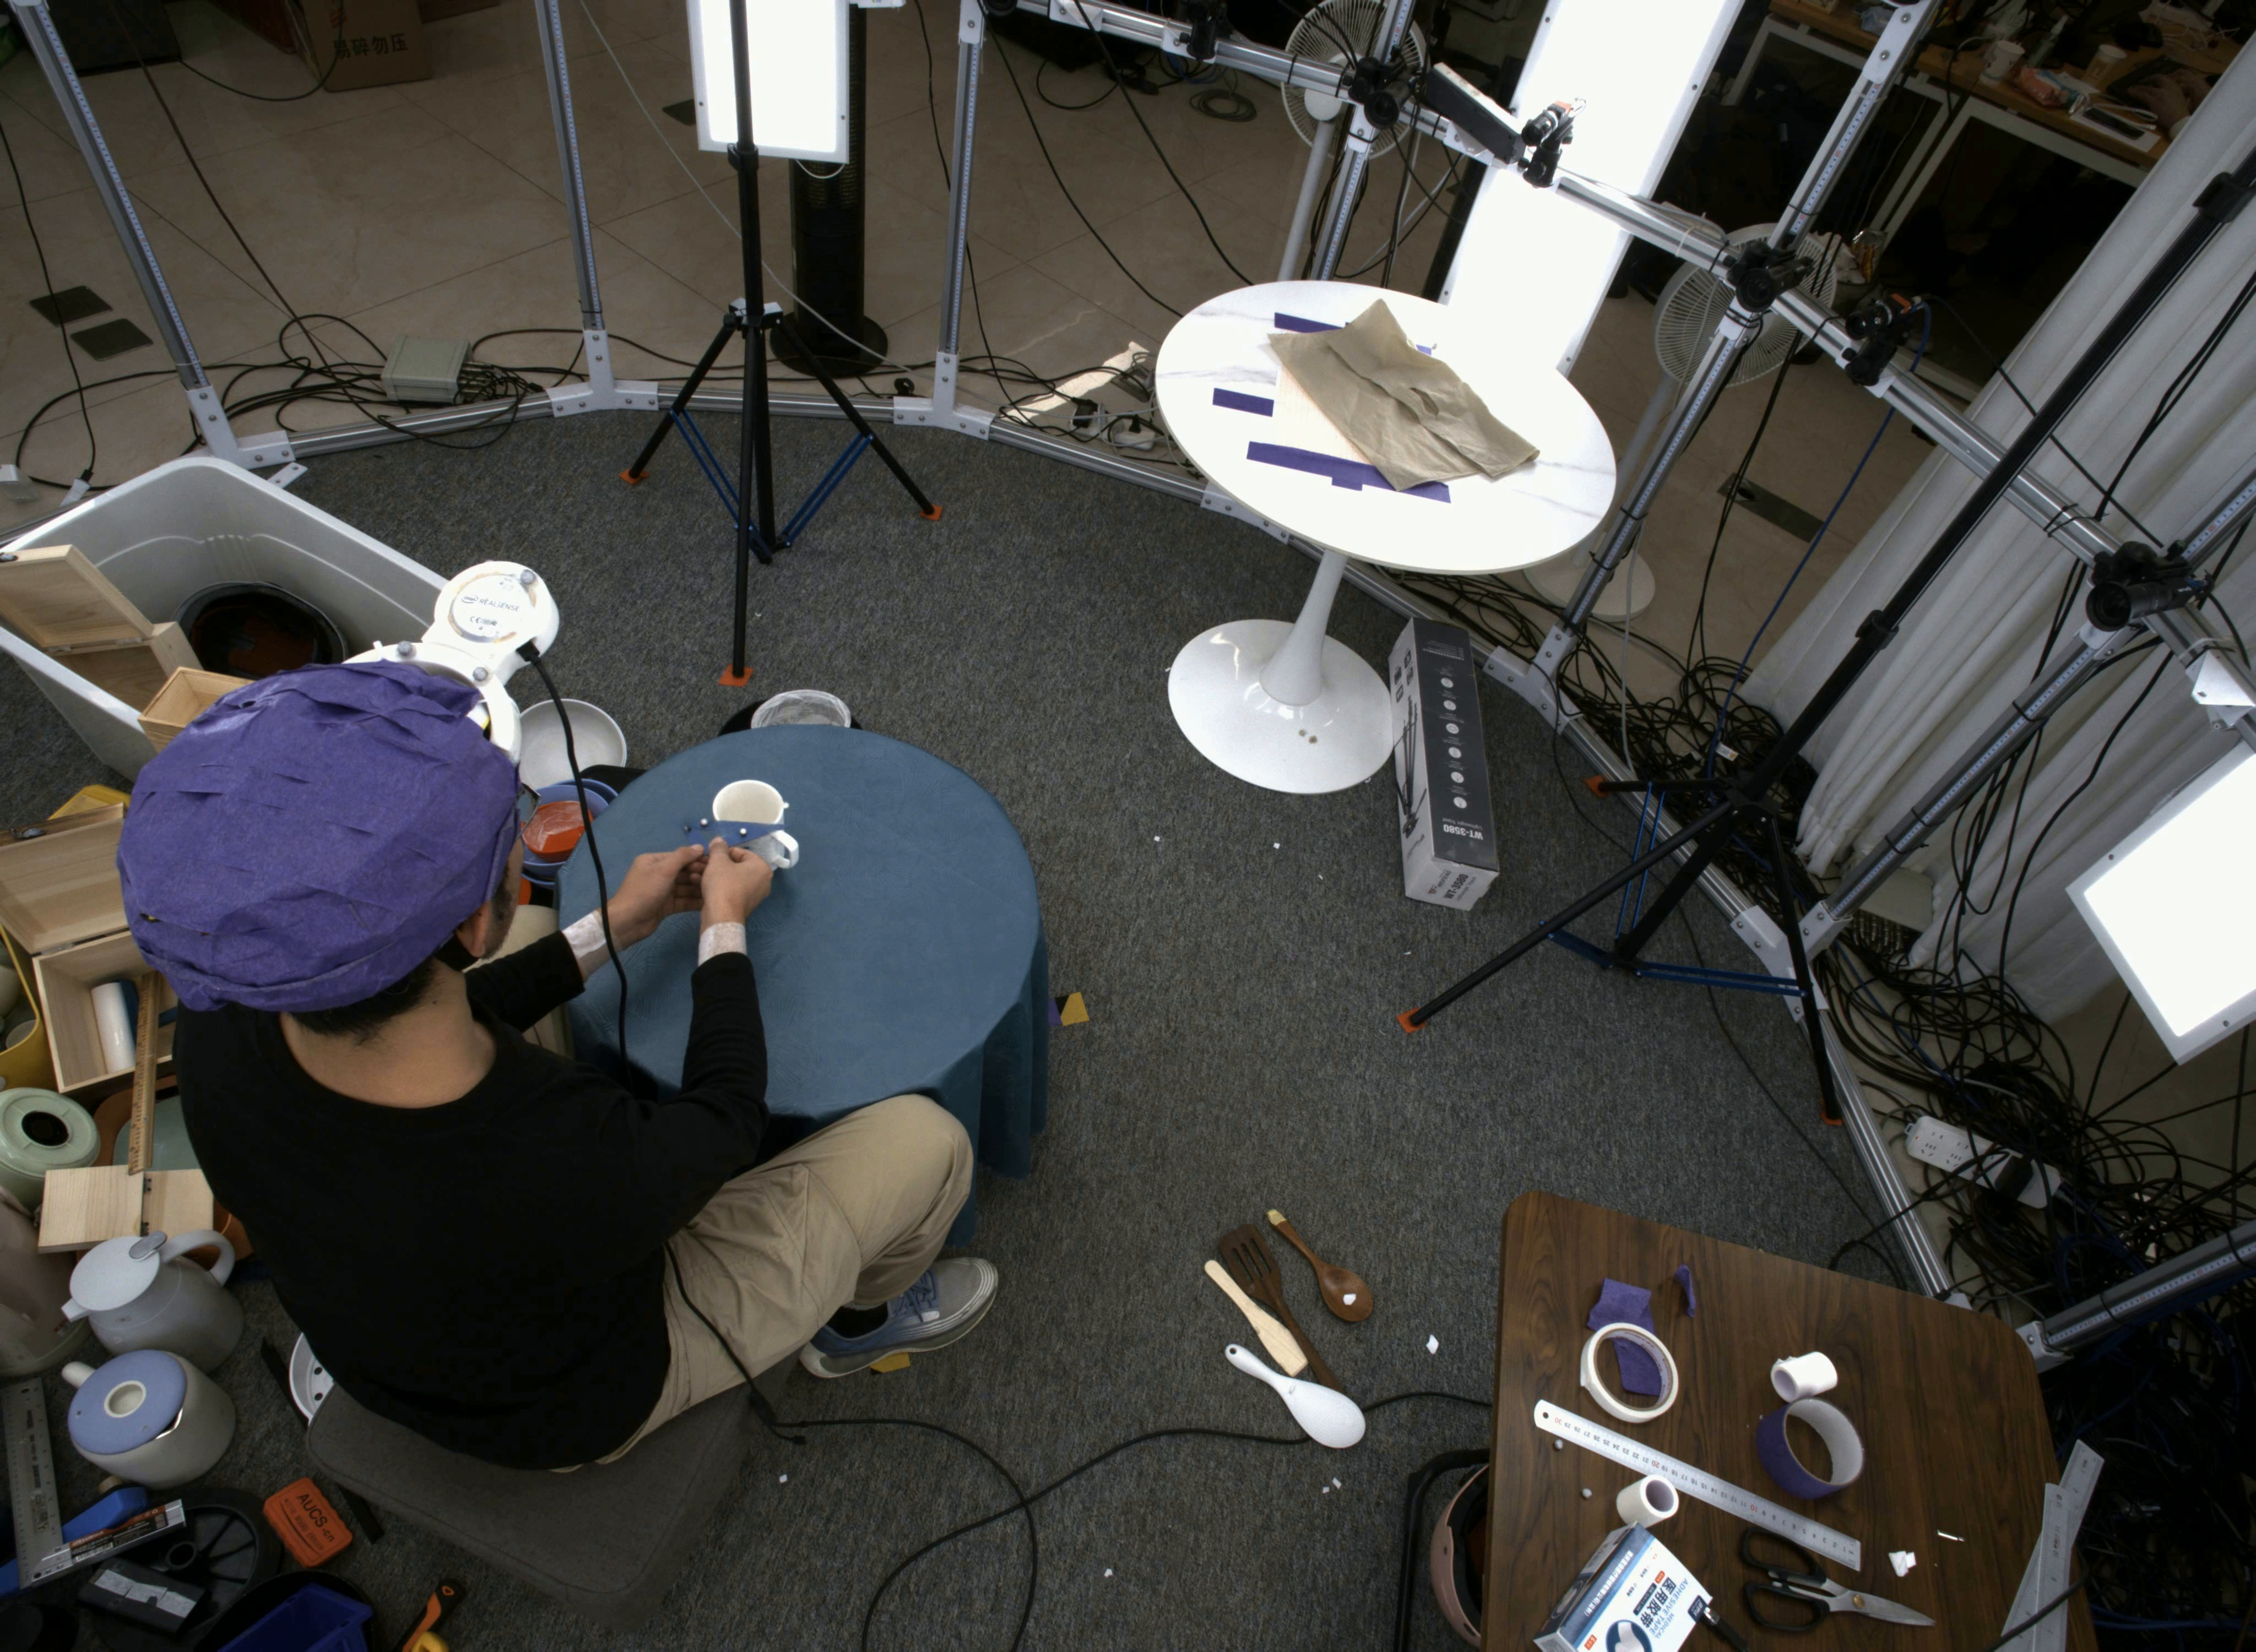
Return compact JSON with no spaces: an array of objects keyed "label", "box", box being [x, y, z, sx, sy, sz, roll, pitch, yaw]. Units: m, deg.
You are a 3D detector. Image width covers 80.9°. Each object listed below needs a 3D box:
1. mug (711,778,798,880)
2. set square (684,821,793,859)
[{"label":"mug","box":[-0.466,0.012,1.632,0.116,0.104,0.084,30,52,11]},{"label":"set square","box":[-0.469,0.019,1.543,0.132,0.007,0.060,7,45,-12]}]
